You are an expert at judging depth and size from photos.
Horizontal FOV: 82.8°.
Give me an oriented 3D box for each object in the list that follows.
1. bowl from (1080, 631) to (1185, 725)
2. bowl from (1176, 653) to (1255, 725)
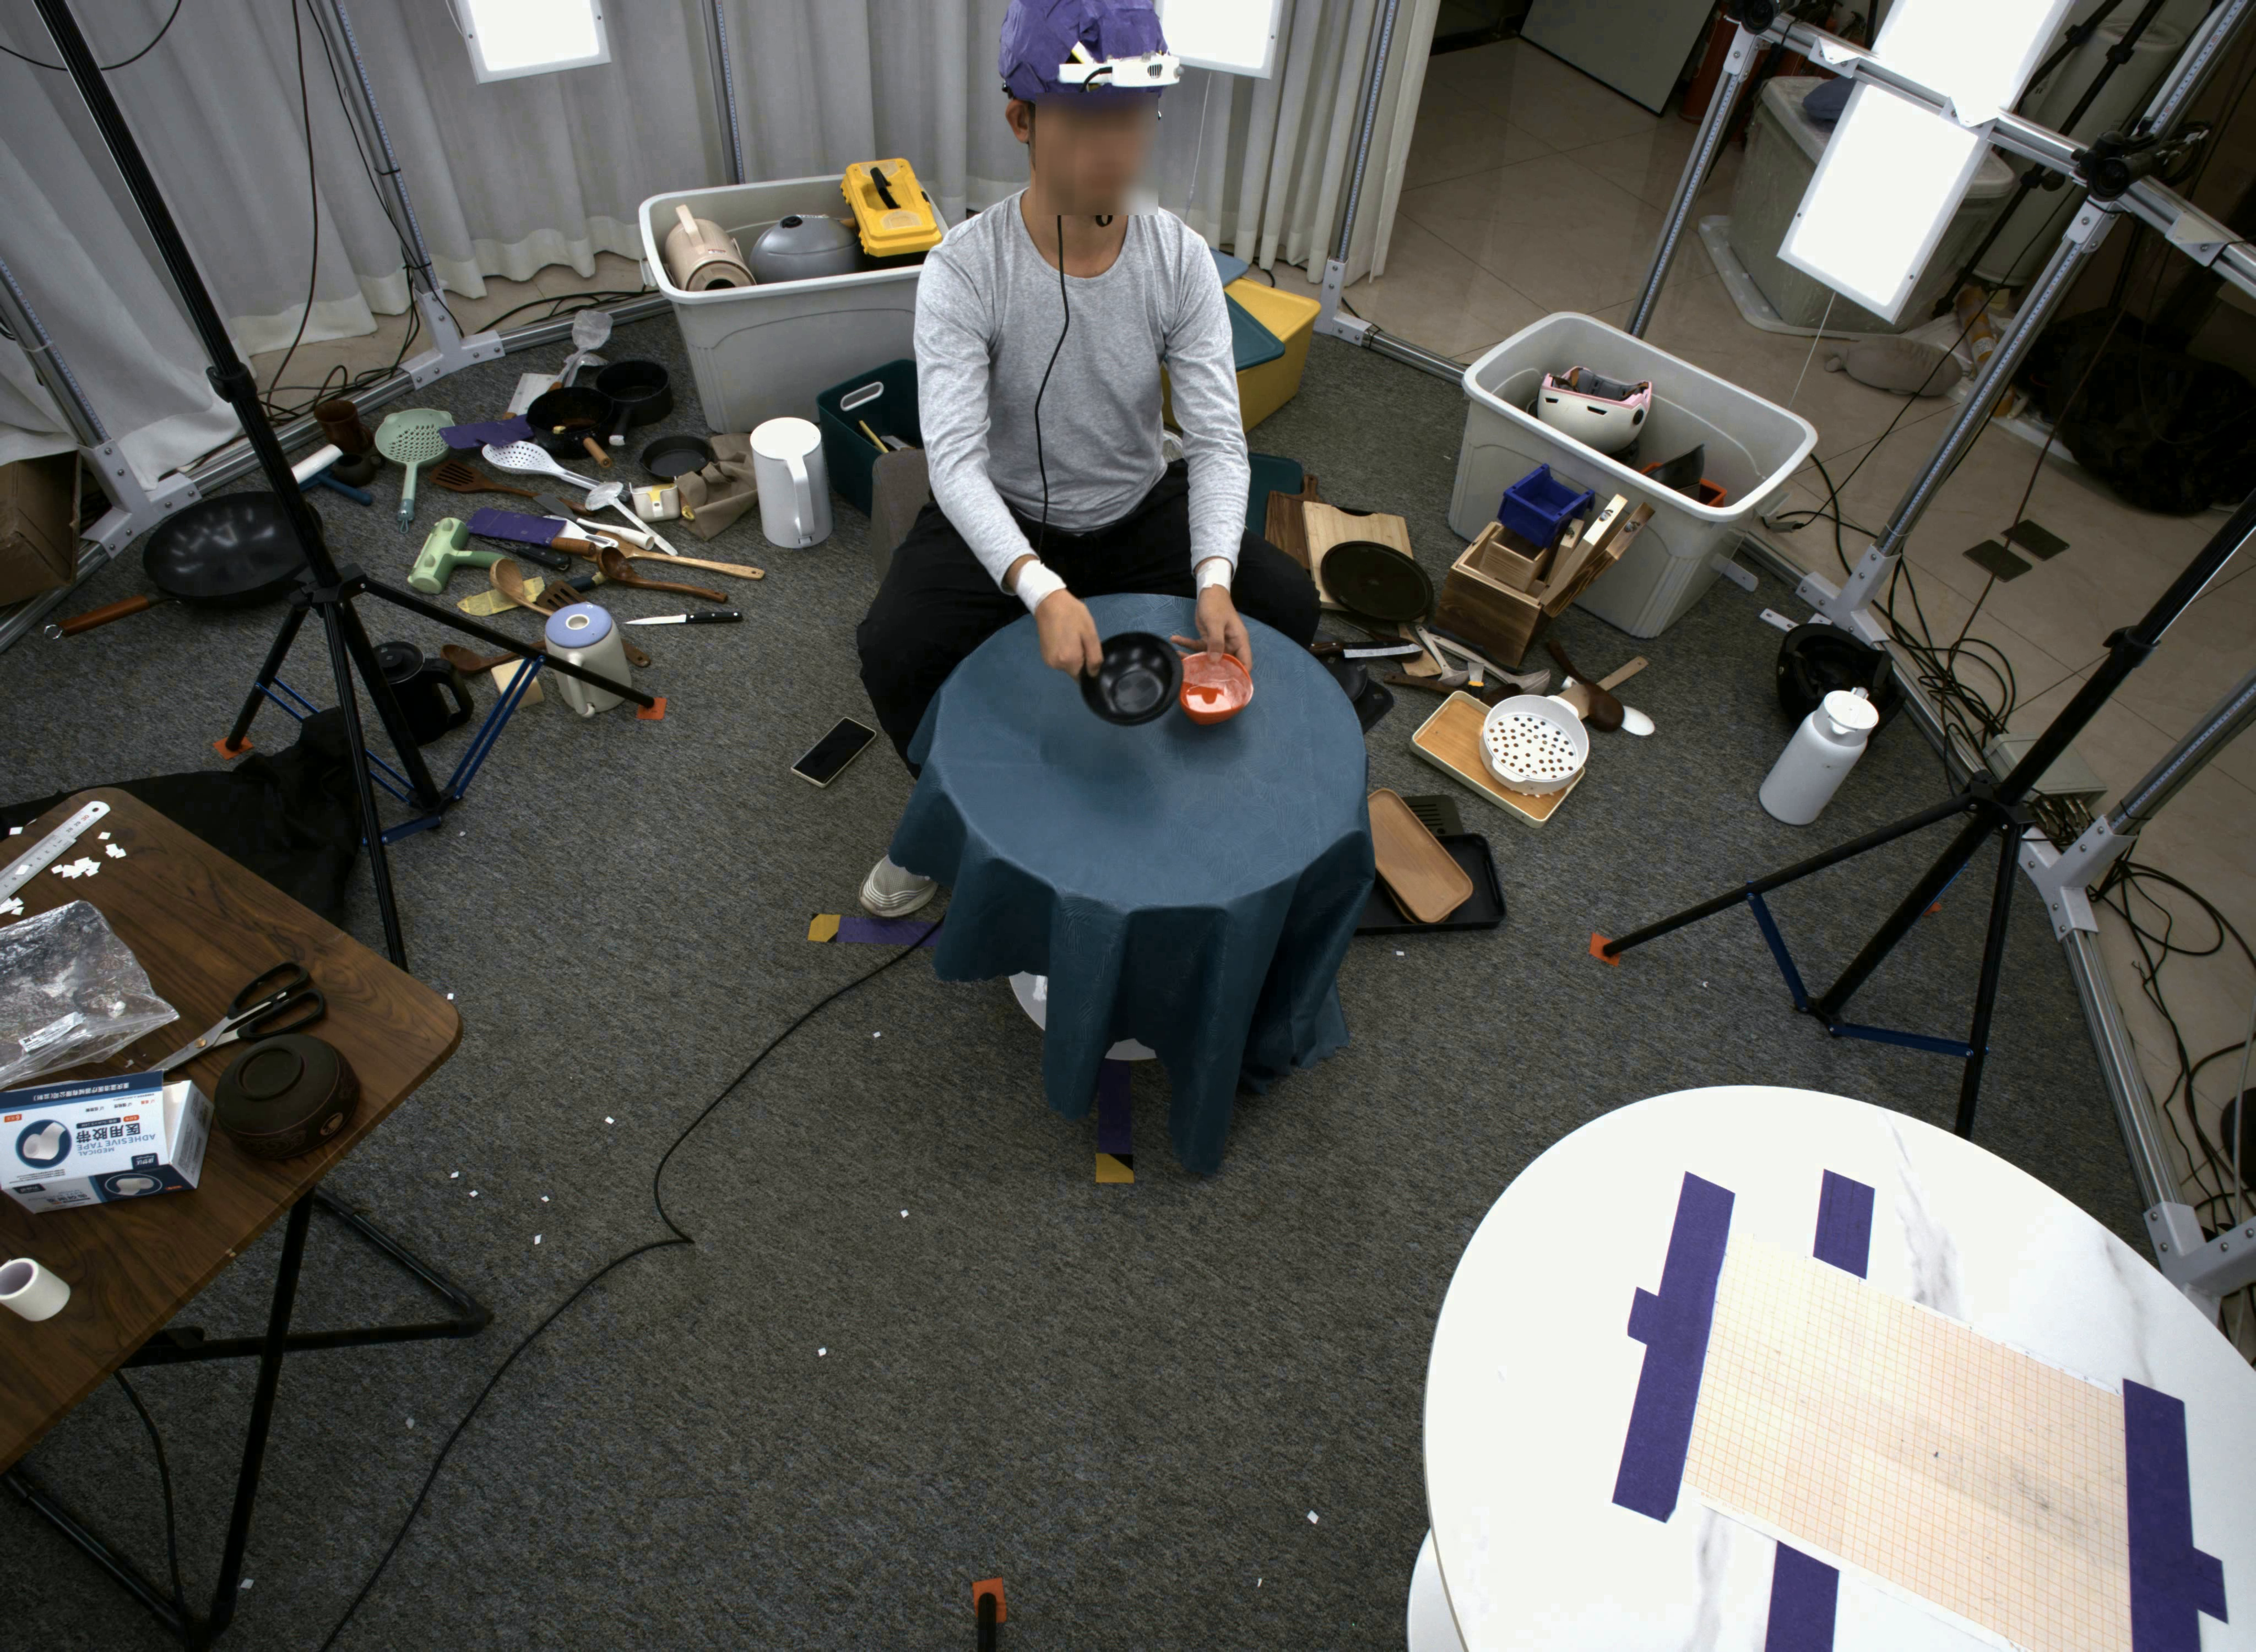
[{"bbox_3d":[0.010,-0.187,1.686,0.140,0.048,0.143,-6,58,11],"label":"bowl"},{"bbox_3d":[0.117,-0.184,1.783,0.119,0.050,0.122,0,51,-1],"label":"bowl"}]
